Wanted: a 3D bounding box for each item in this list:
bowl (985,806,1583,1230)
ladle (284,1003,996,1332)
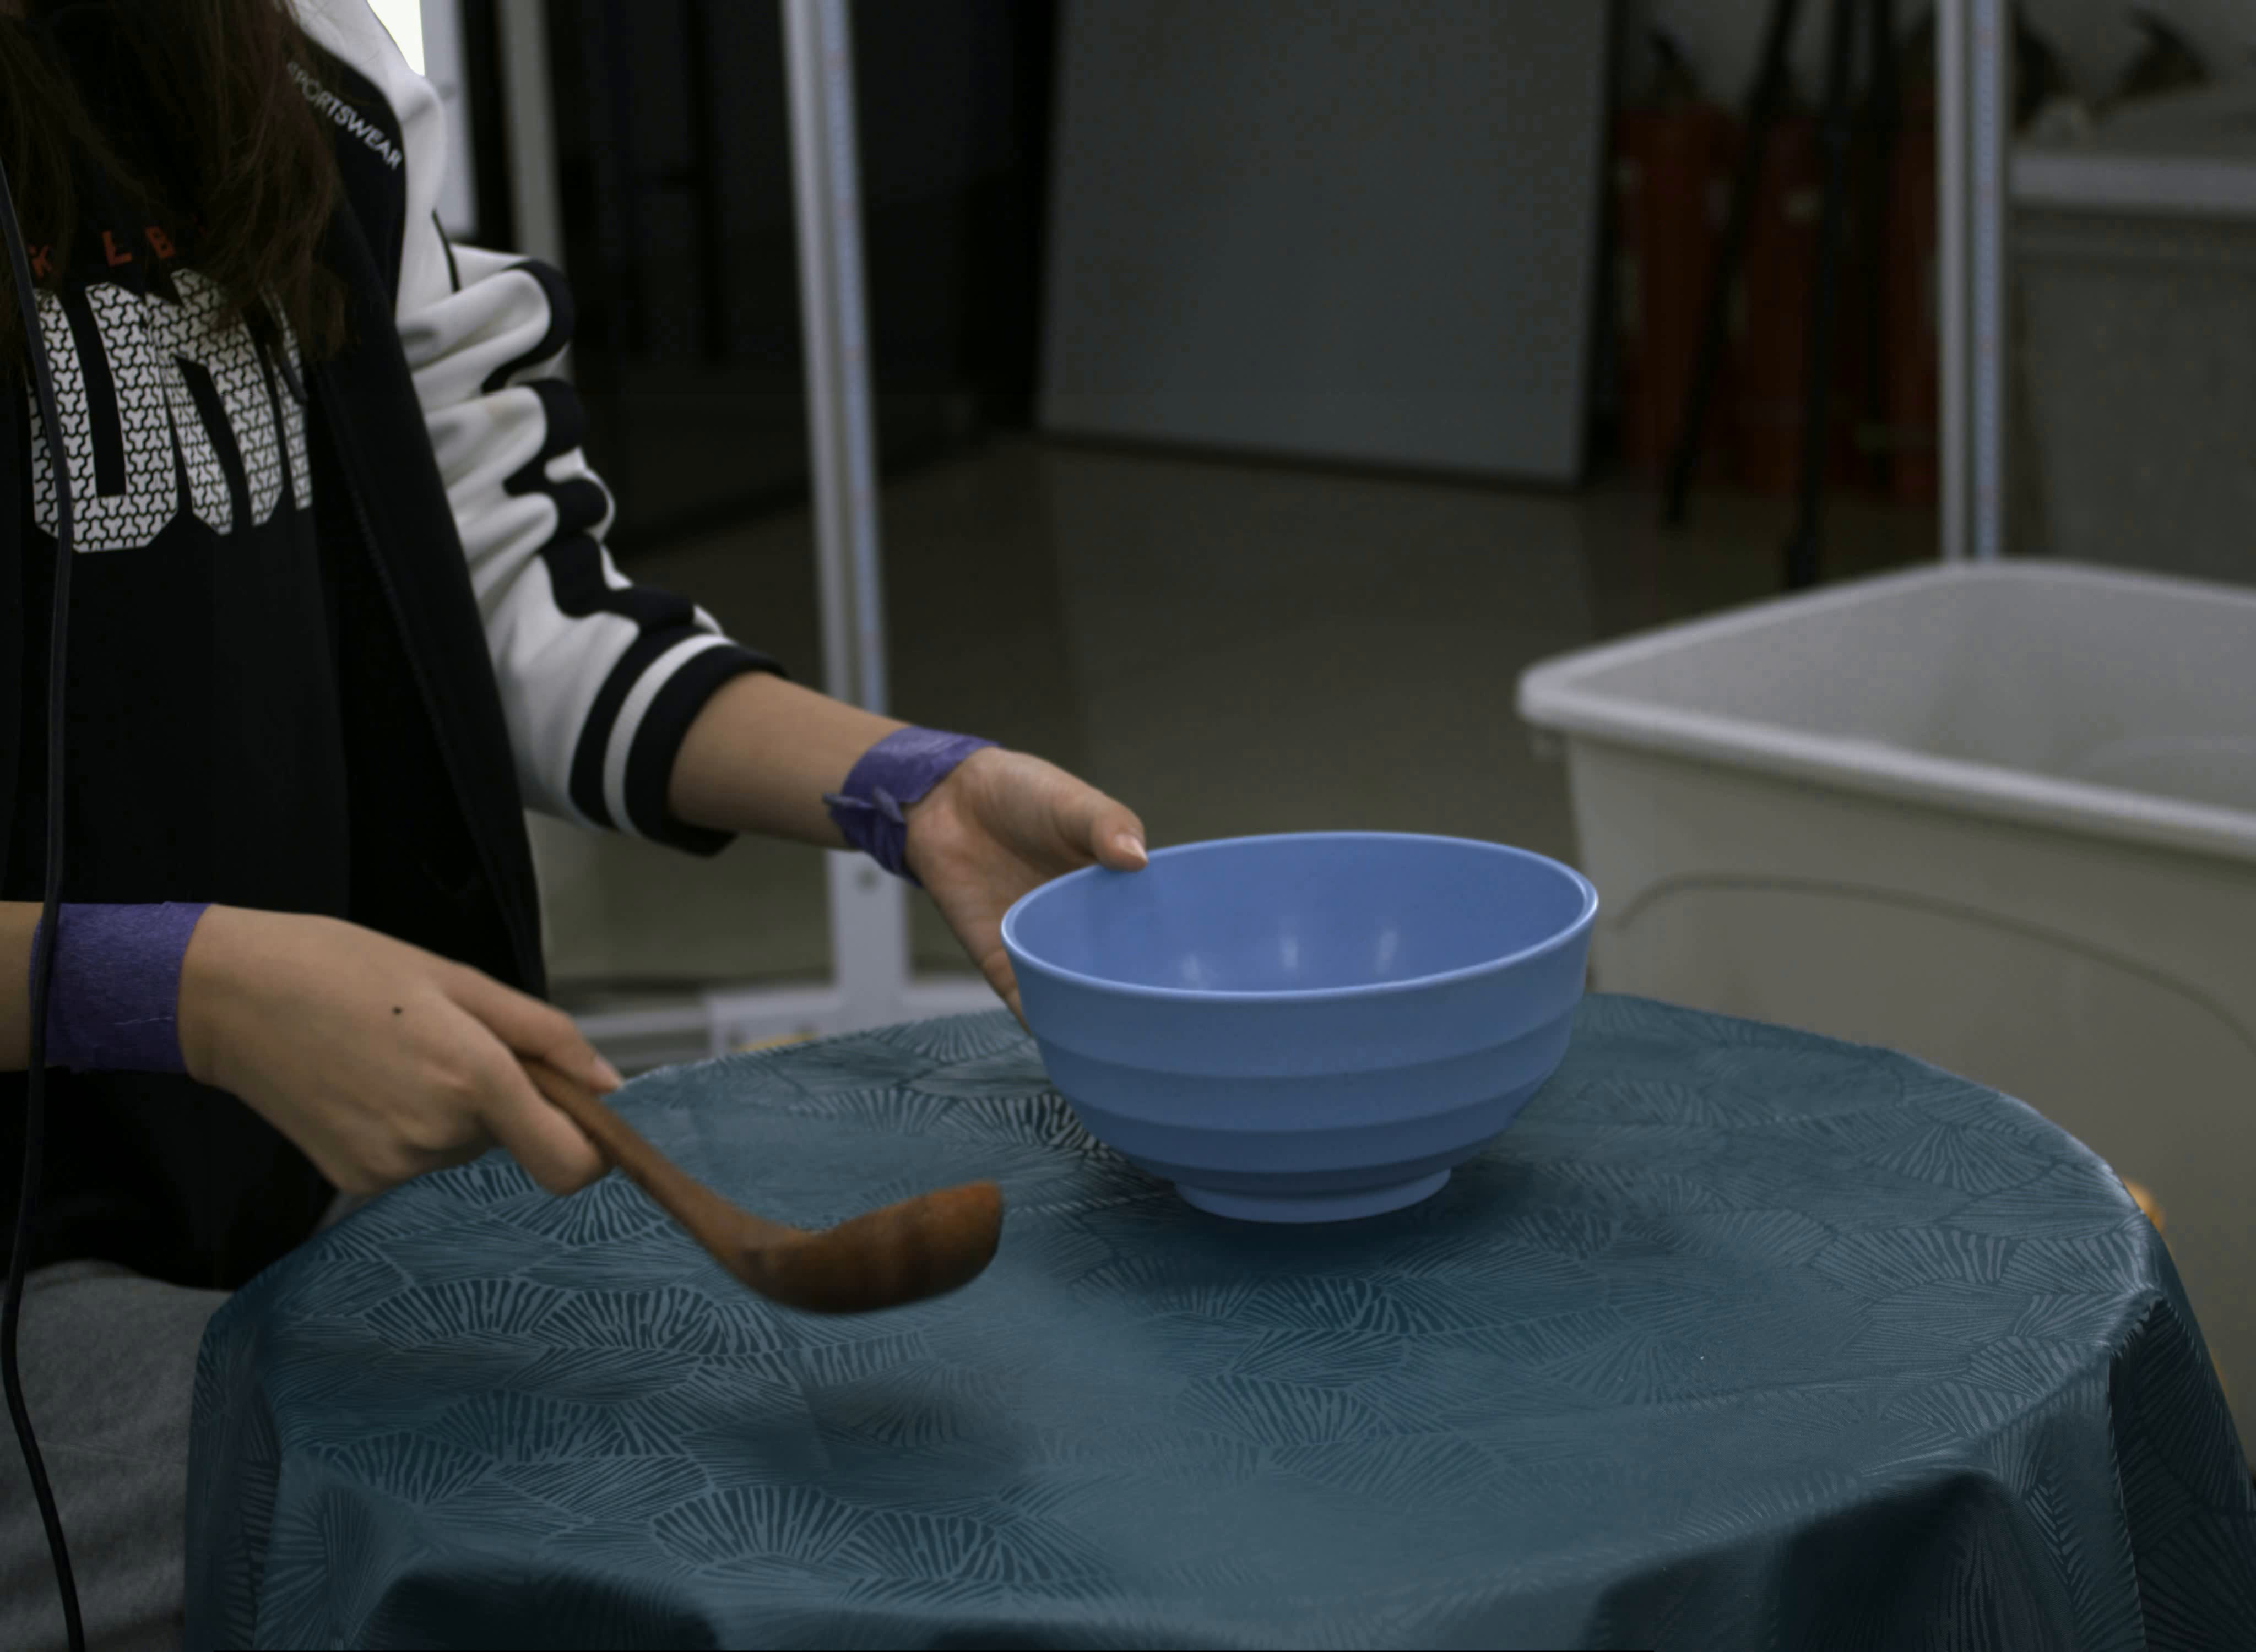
[{"bbox_3d":[0.053,0.070,1.764,0.194,0.096,0.197,-4,20,0],"label":"bowl"},{"bbox_3d":[-0.150,0.087,1.616,0.262,0.066,0.075,27,11,31],"label":"ladle"}]
